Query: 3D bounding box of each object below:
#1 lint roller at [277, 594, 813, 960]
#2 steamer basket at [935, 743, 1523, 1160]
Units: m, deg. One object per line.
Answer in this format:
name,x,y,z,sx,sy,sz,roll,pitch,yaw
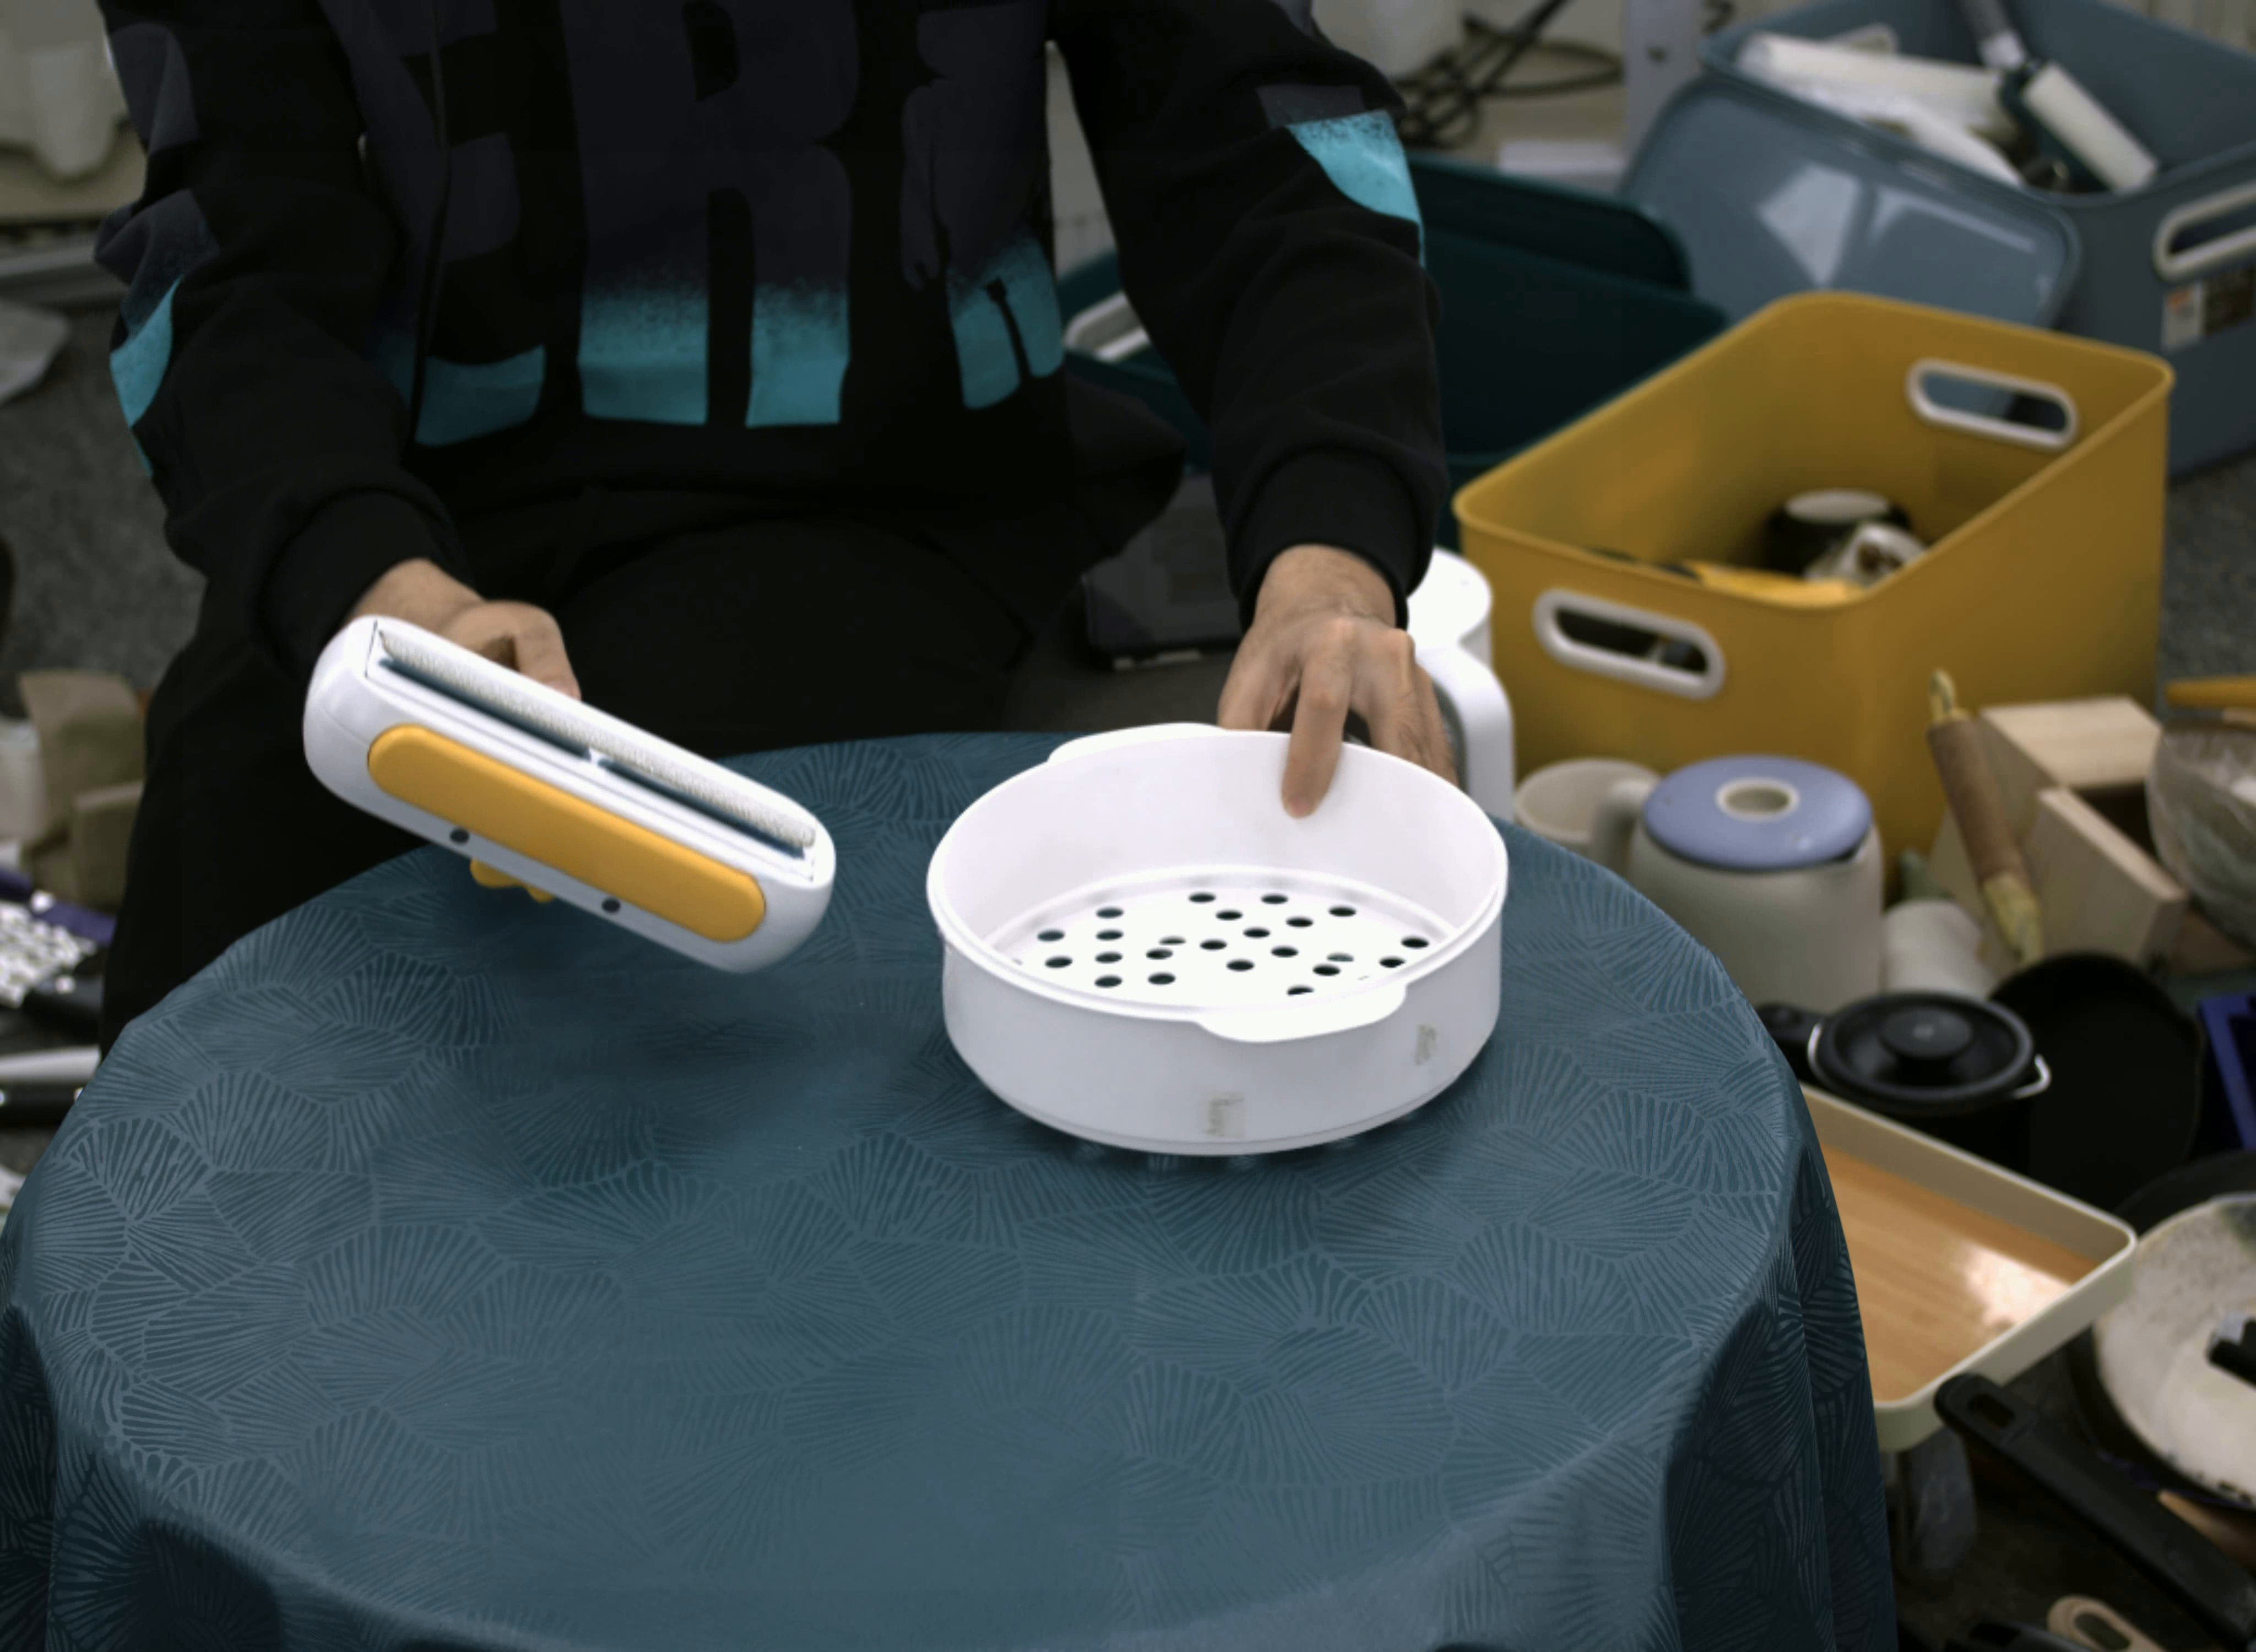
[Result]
lint roller,-0.204,-0.029,1.976,0.192,0.073,0.194,22,17,-10
steamer basket,0.034,0.044,1.931,0.202,0.068,0.233,-7,26,-15
